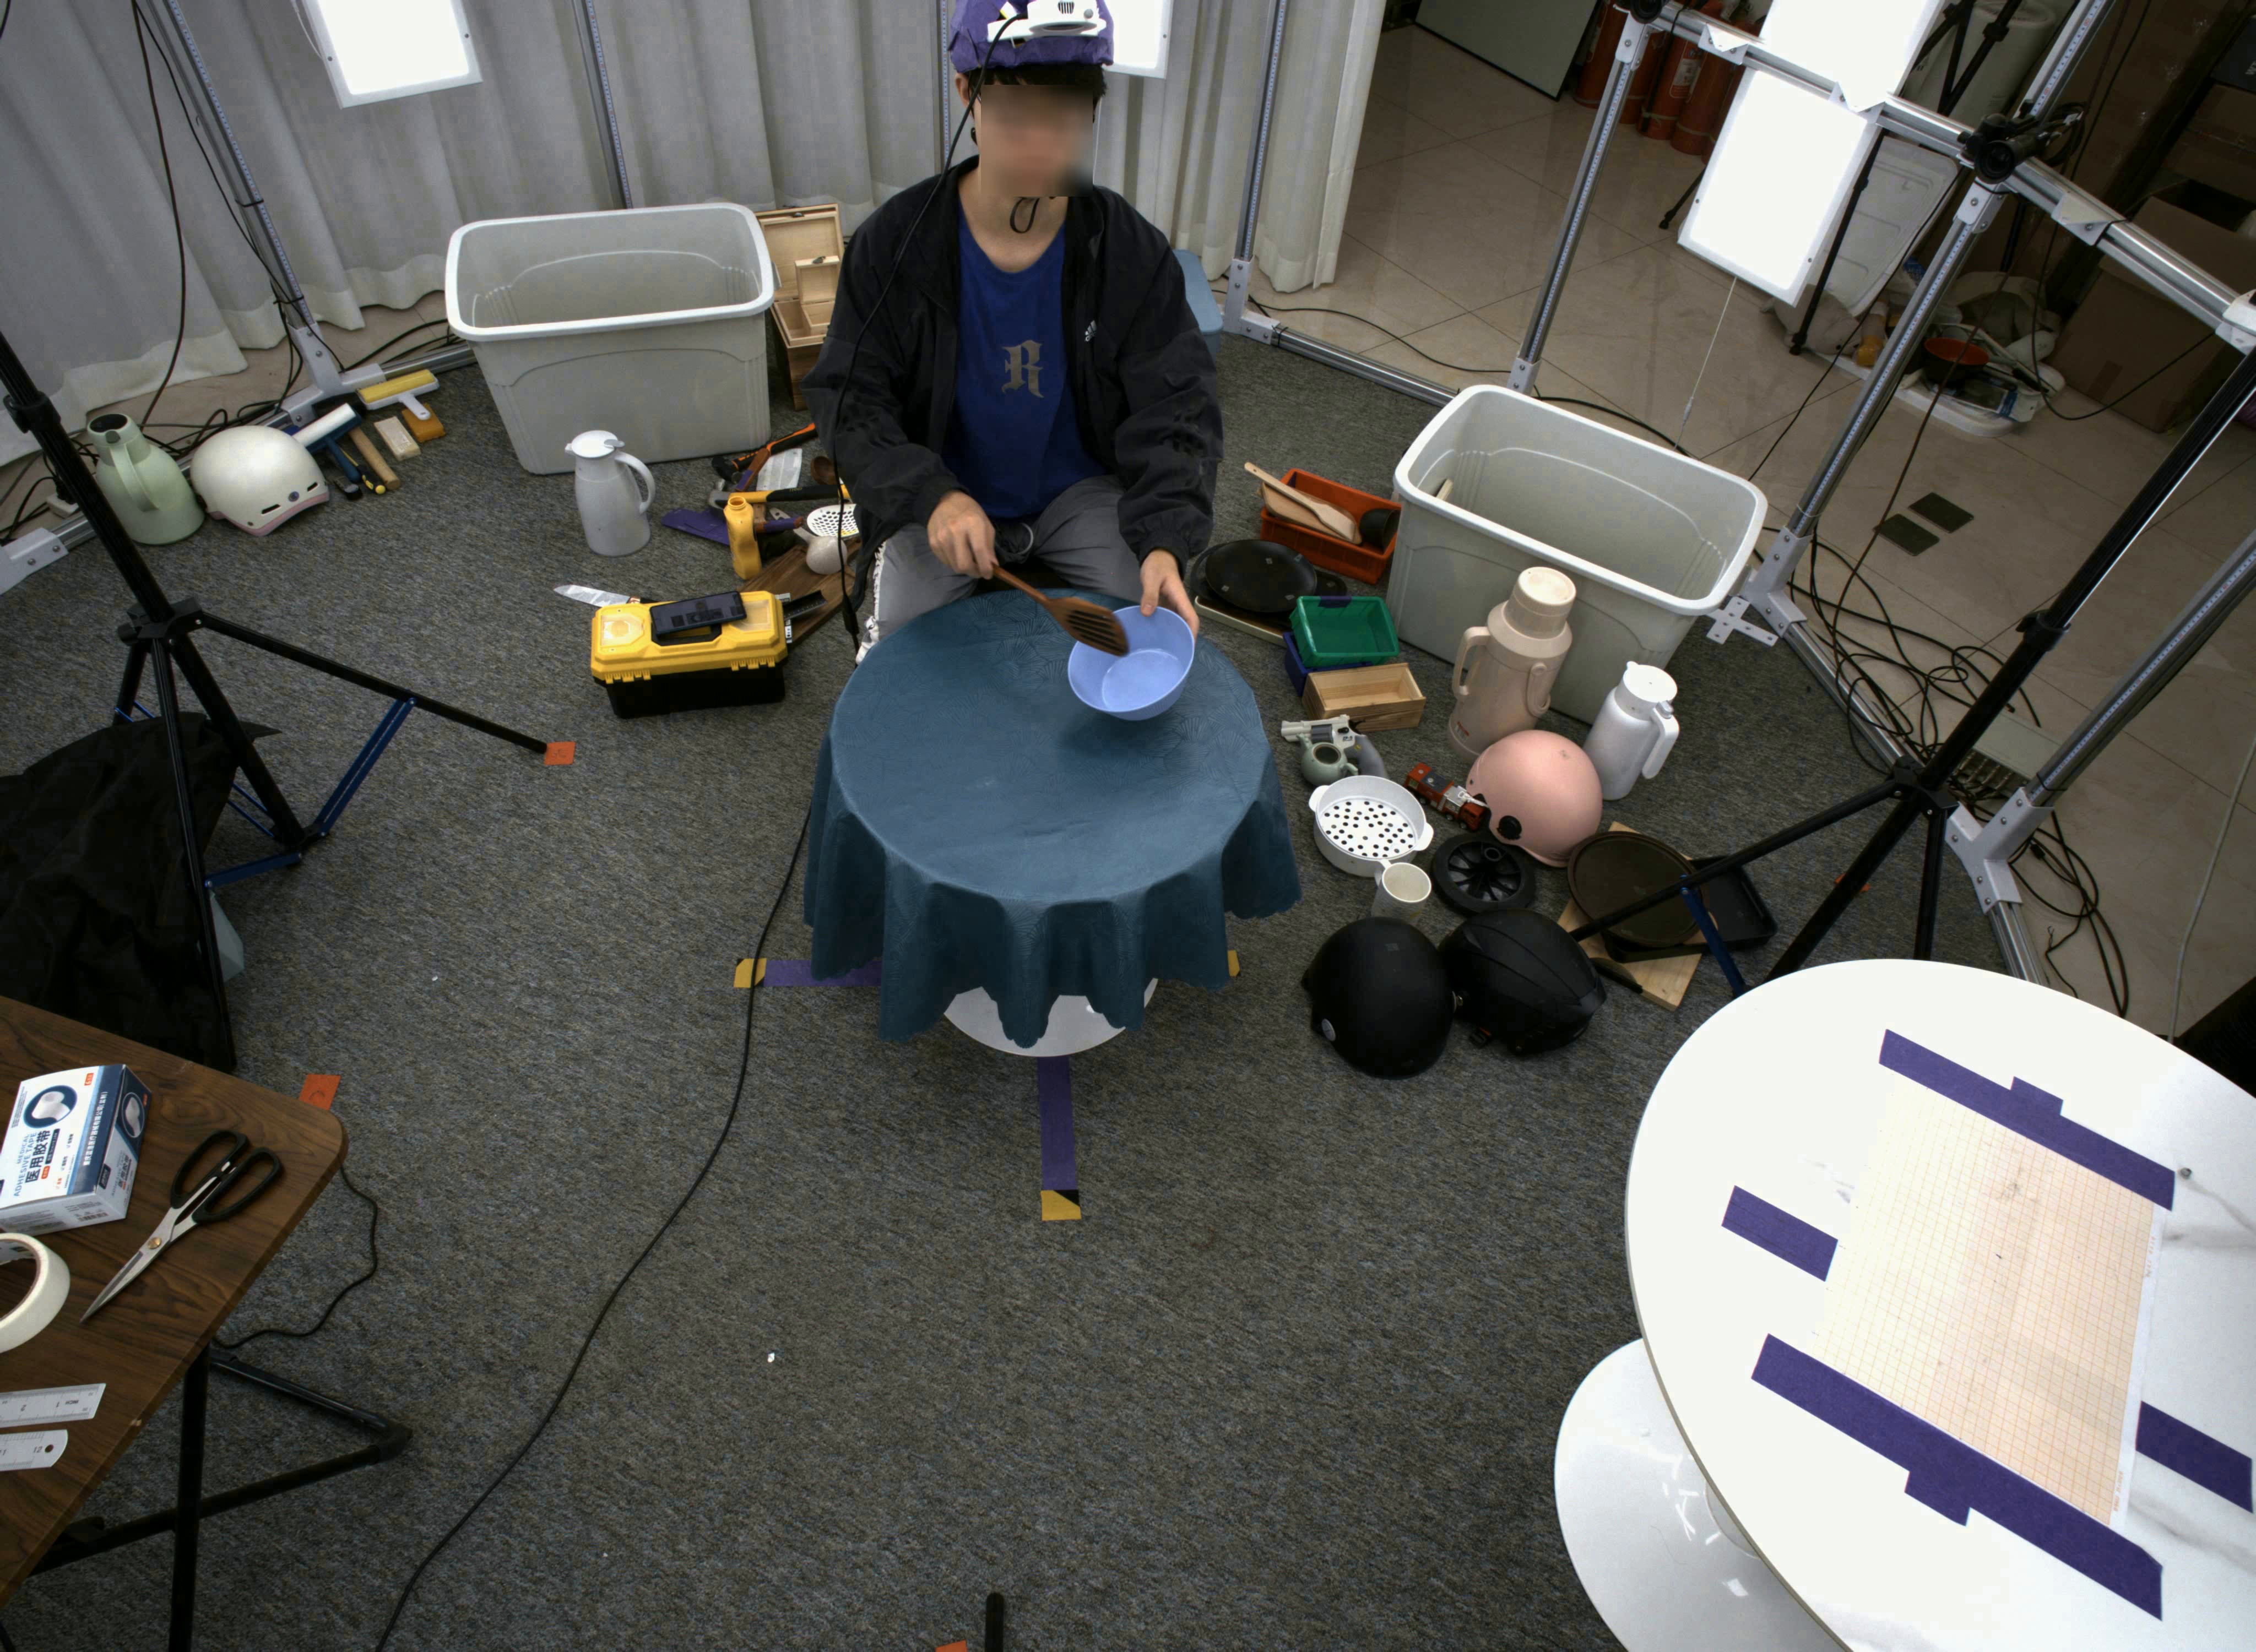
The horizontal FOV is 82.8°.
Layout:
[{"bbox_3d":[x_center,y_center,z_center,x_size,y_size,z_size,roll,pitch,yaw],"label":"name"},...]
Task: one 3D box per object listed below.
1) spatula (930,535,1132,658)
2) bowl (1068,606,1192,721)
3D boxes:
[{"bbox_3d":[-0.142,-0.322,1.739,0.393,0.083,0.024,33,62,34],"label":"spatula"},{"bbox_3d":[0.011,-0.210,1.744,0.176,0.069,0.180,-10,56,15],"label":"bowl"}]
